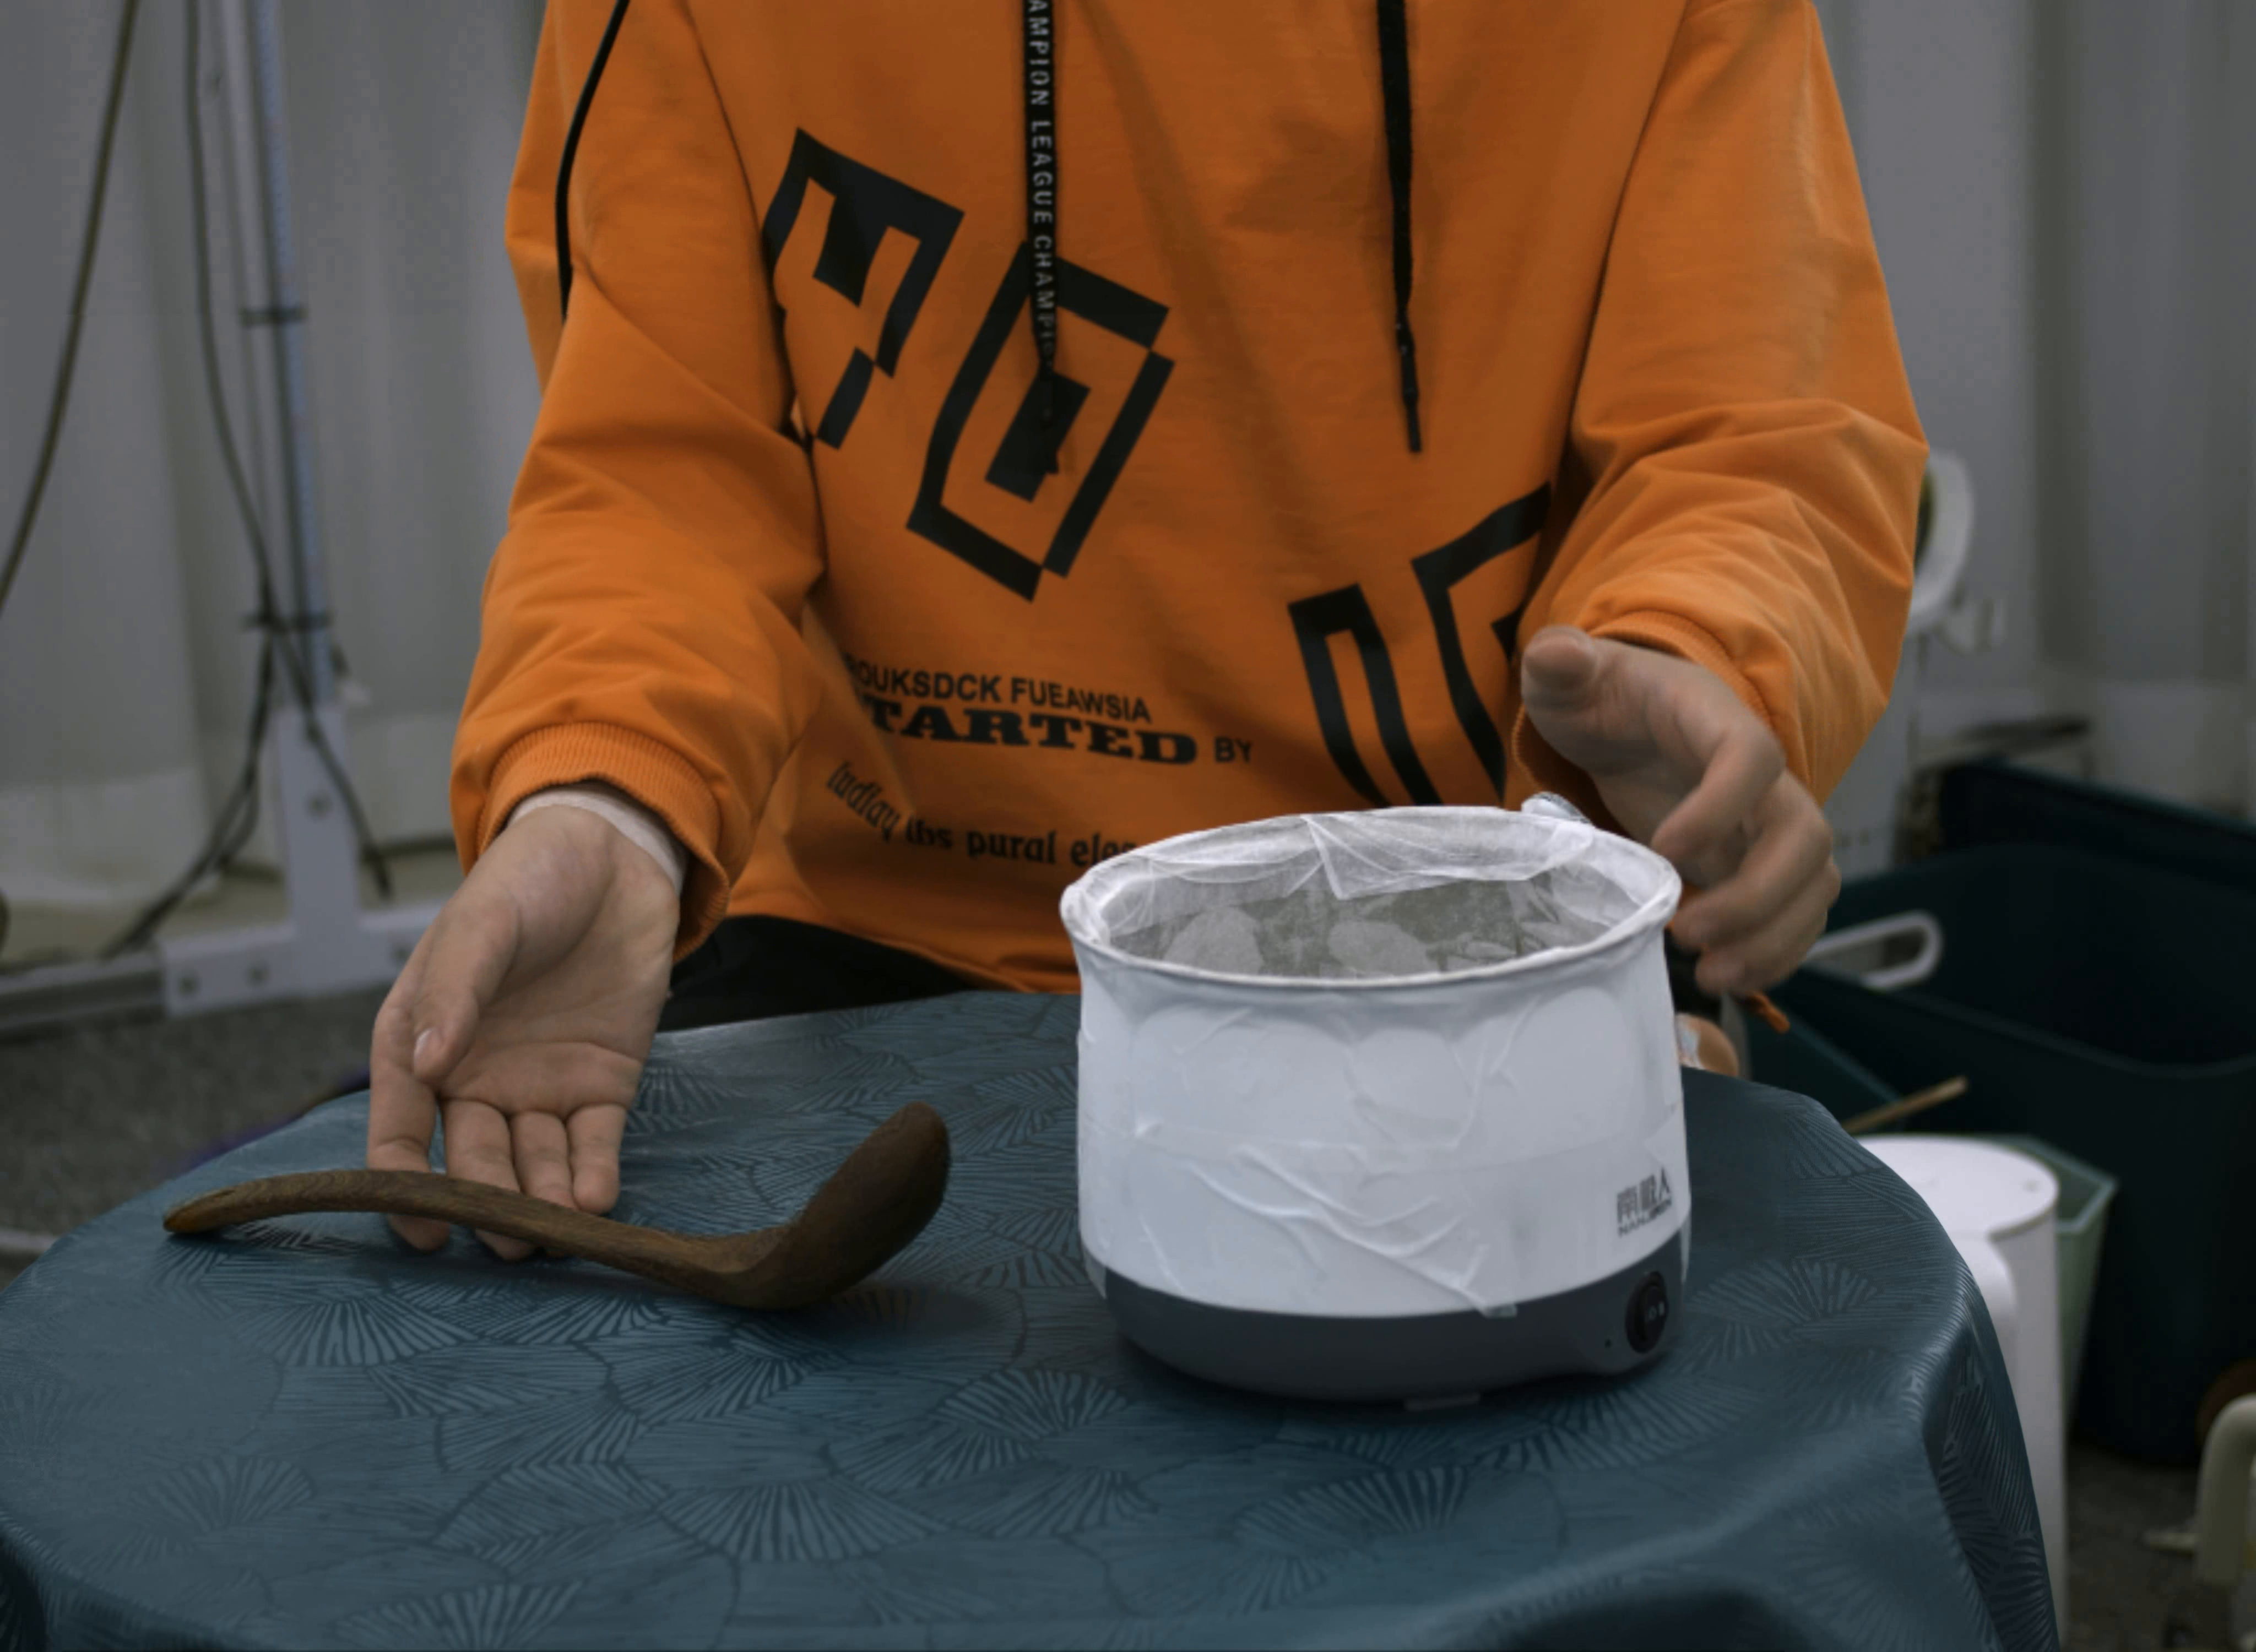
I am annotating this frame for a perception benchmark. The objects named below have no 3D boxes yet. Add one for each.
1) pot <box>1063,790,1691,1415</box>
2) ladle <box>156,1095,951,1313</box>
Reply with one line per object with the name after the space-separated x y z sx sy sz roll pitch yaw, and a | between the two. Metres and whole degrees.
0.087 0.073 1.591 0.179 0.136 0.234 7 18 32 | pot
-0.180 0.103 1.660 0.274 0.071 0.076 5 14 26 | ladle
